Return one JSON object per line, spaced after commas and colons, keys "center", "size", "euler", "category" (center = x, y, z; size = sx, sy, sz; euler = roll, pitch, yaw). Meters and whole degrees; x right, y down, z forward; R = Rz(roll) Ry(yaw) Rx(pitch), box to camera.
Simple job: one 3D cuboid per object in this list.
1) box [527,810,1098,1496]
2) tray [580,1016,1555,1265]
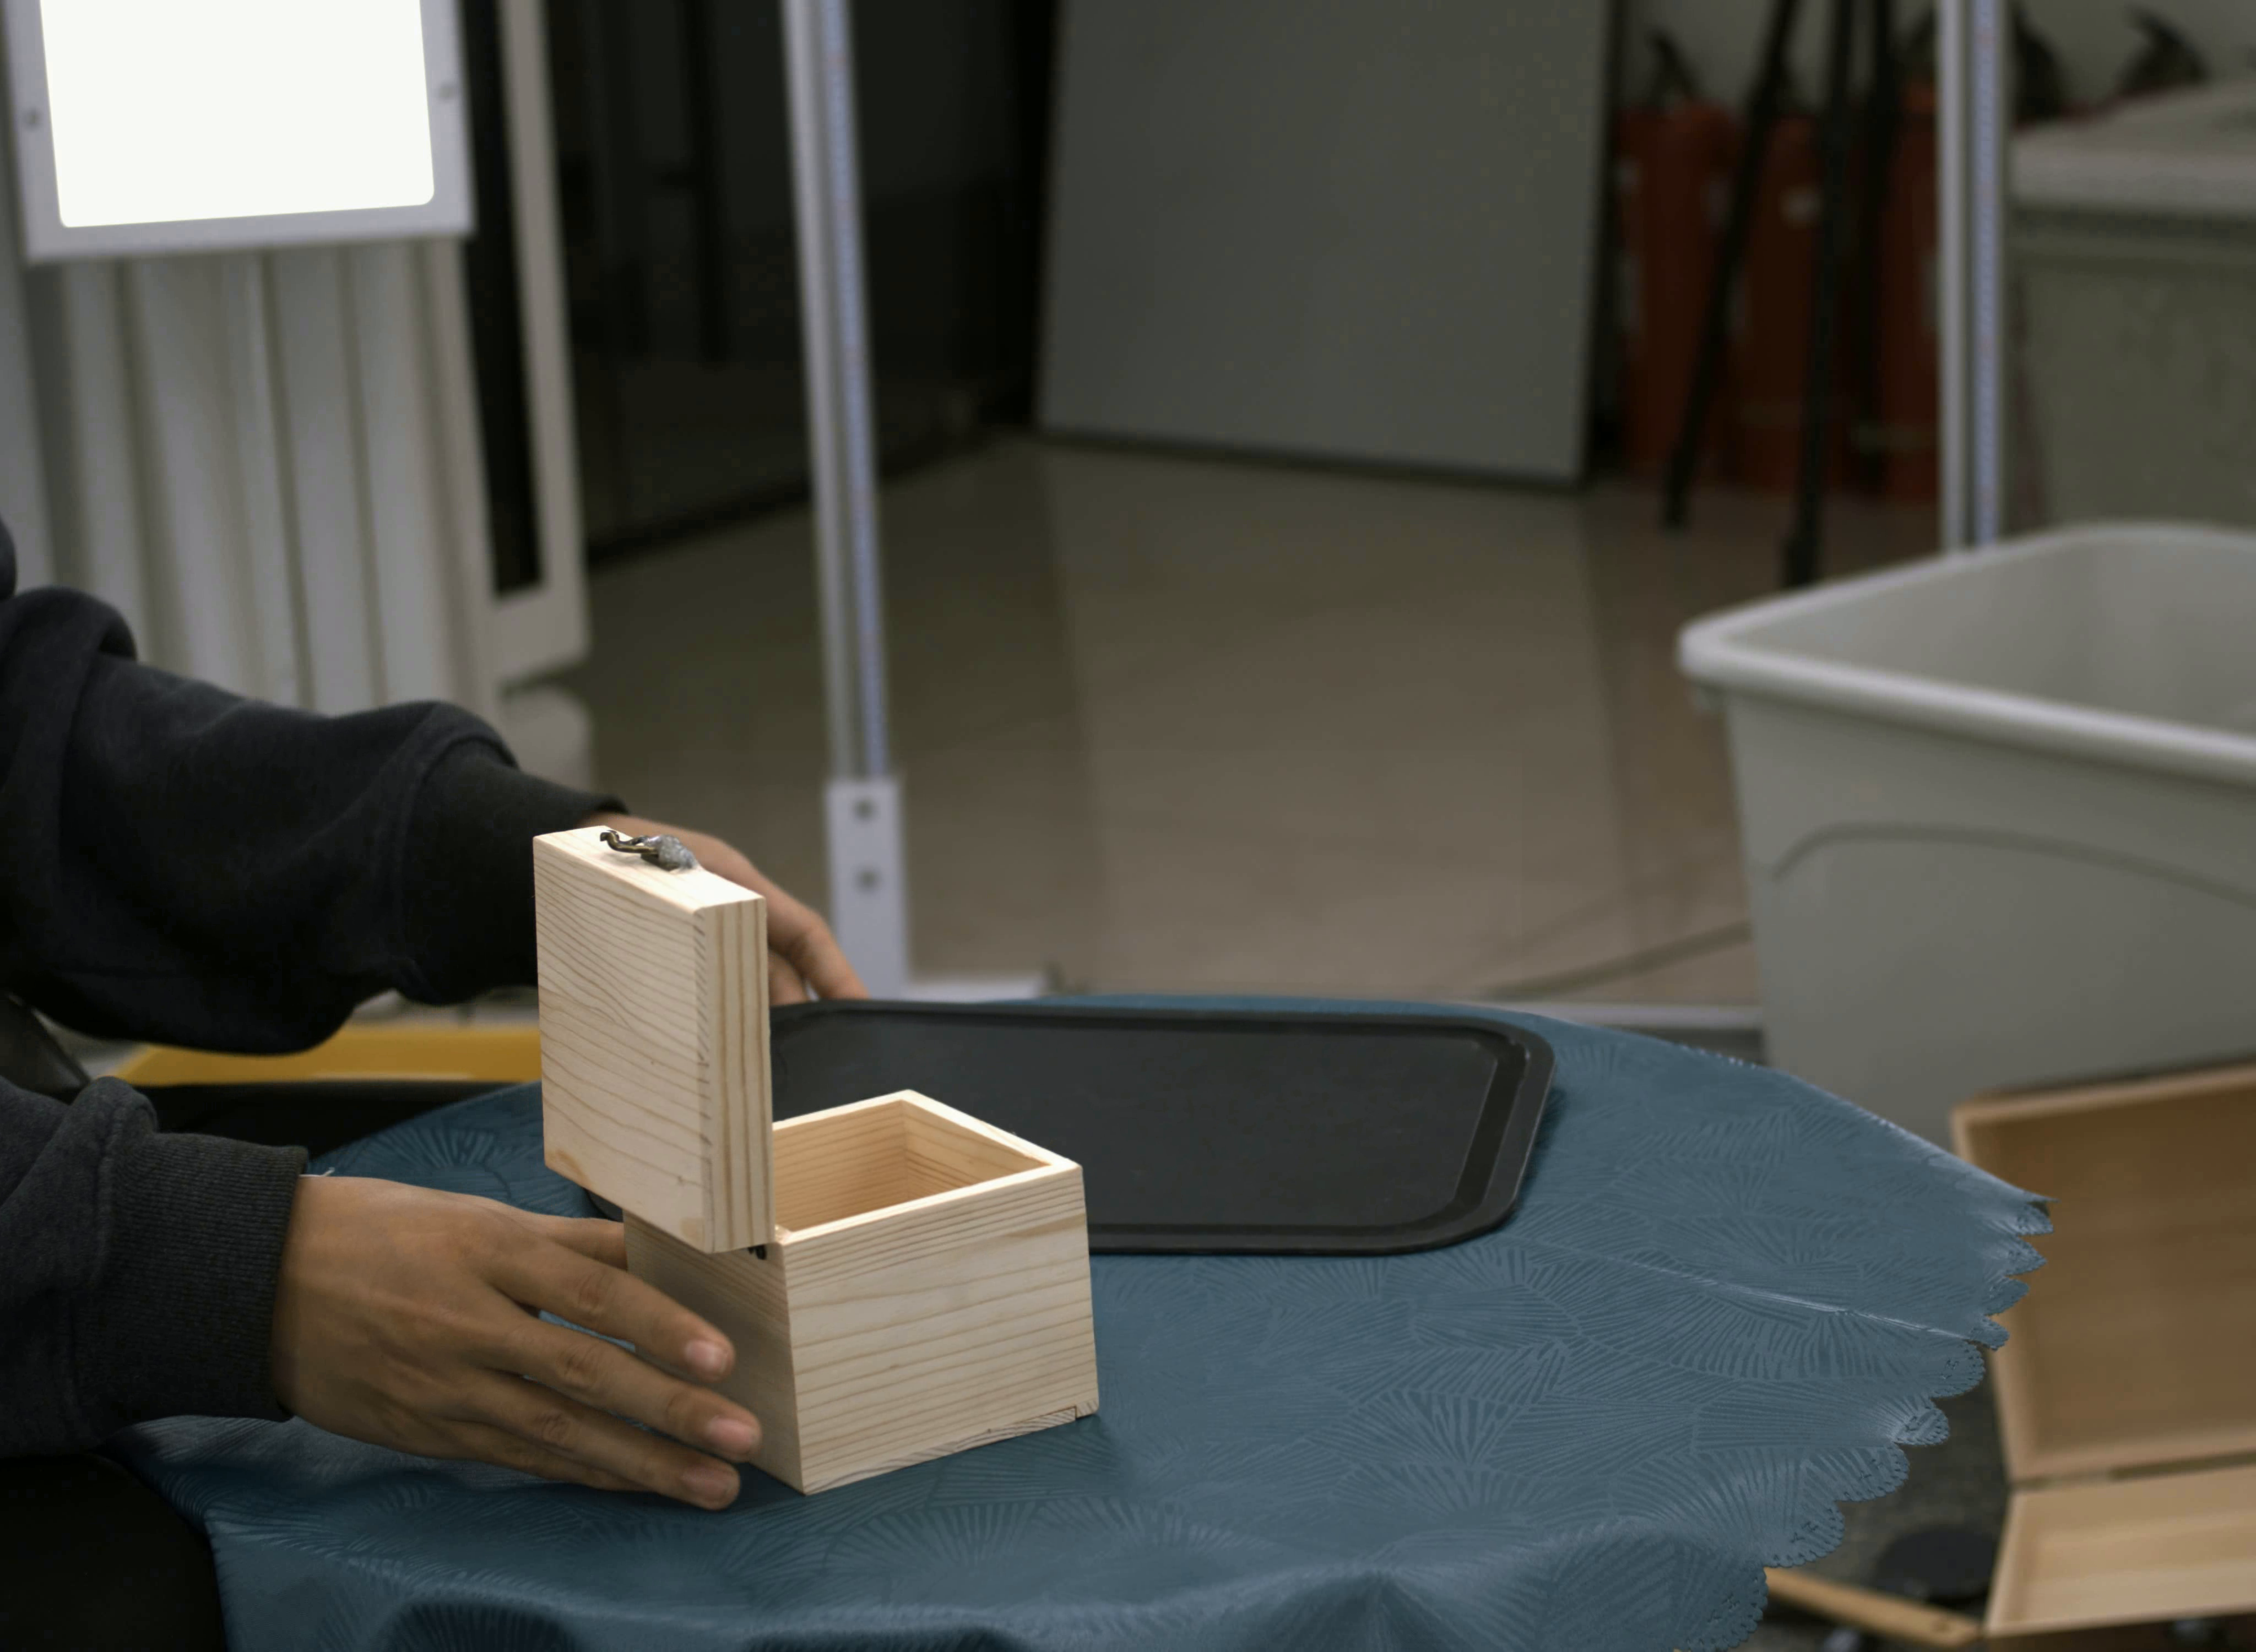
{"center": [-0.089, 0.083, 1.556], "size": [0.131, 0.186, 0.104], "euler": [-13, 17, -30], "category": "box"}
{"center": [-0.023, 0.101, 1.809], "size": [0.323, 0.010, 0.210], "euler": [0, 18, 13], "category": "tray"}
